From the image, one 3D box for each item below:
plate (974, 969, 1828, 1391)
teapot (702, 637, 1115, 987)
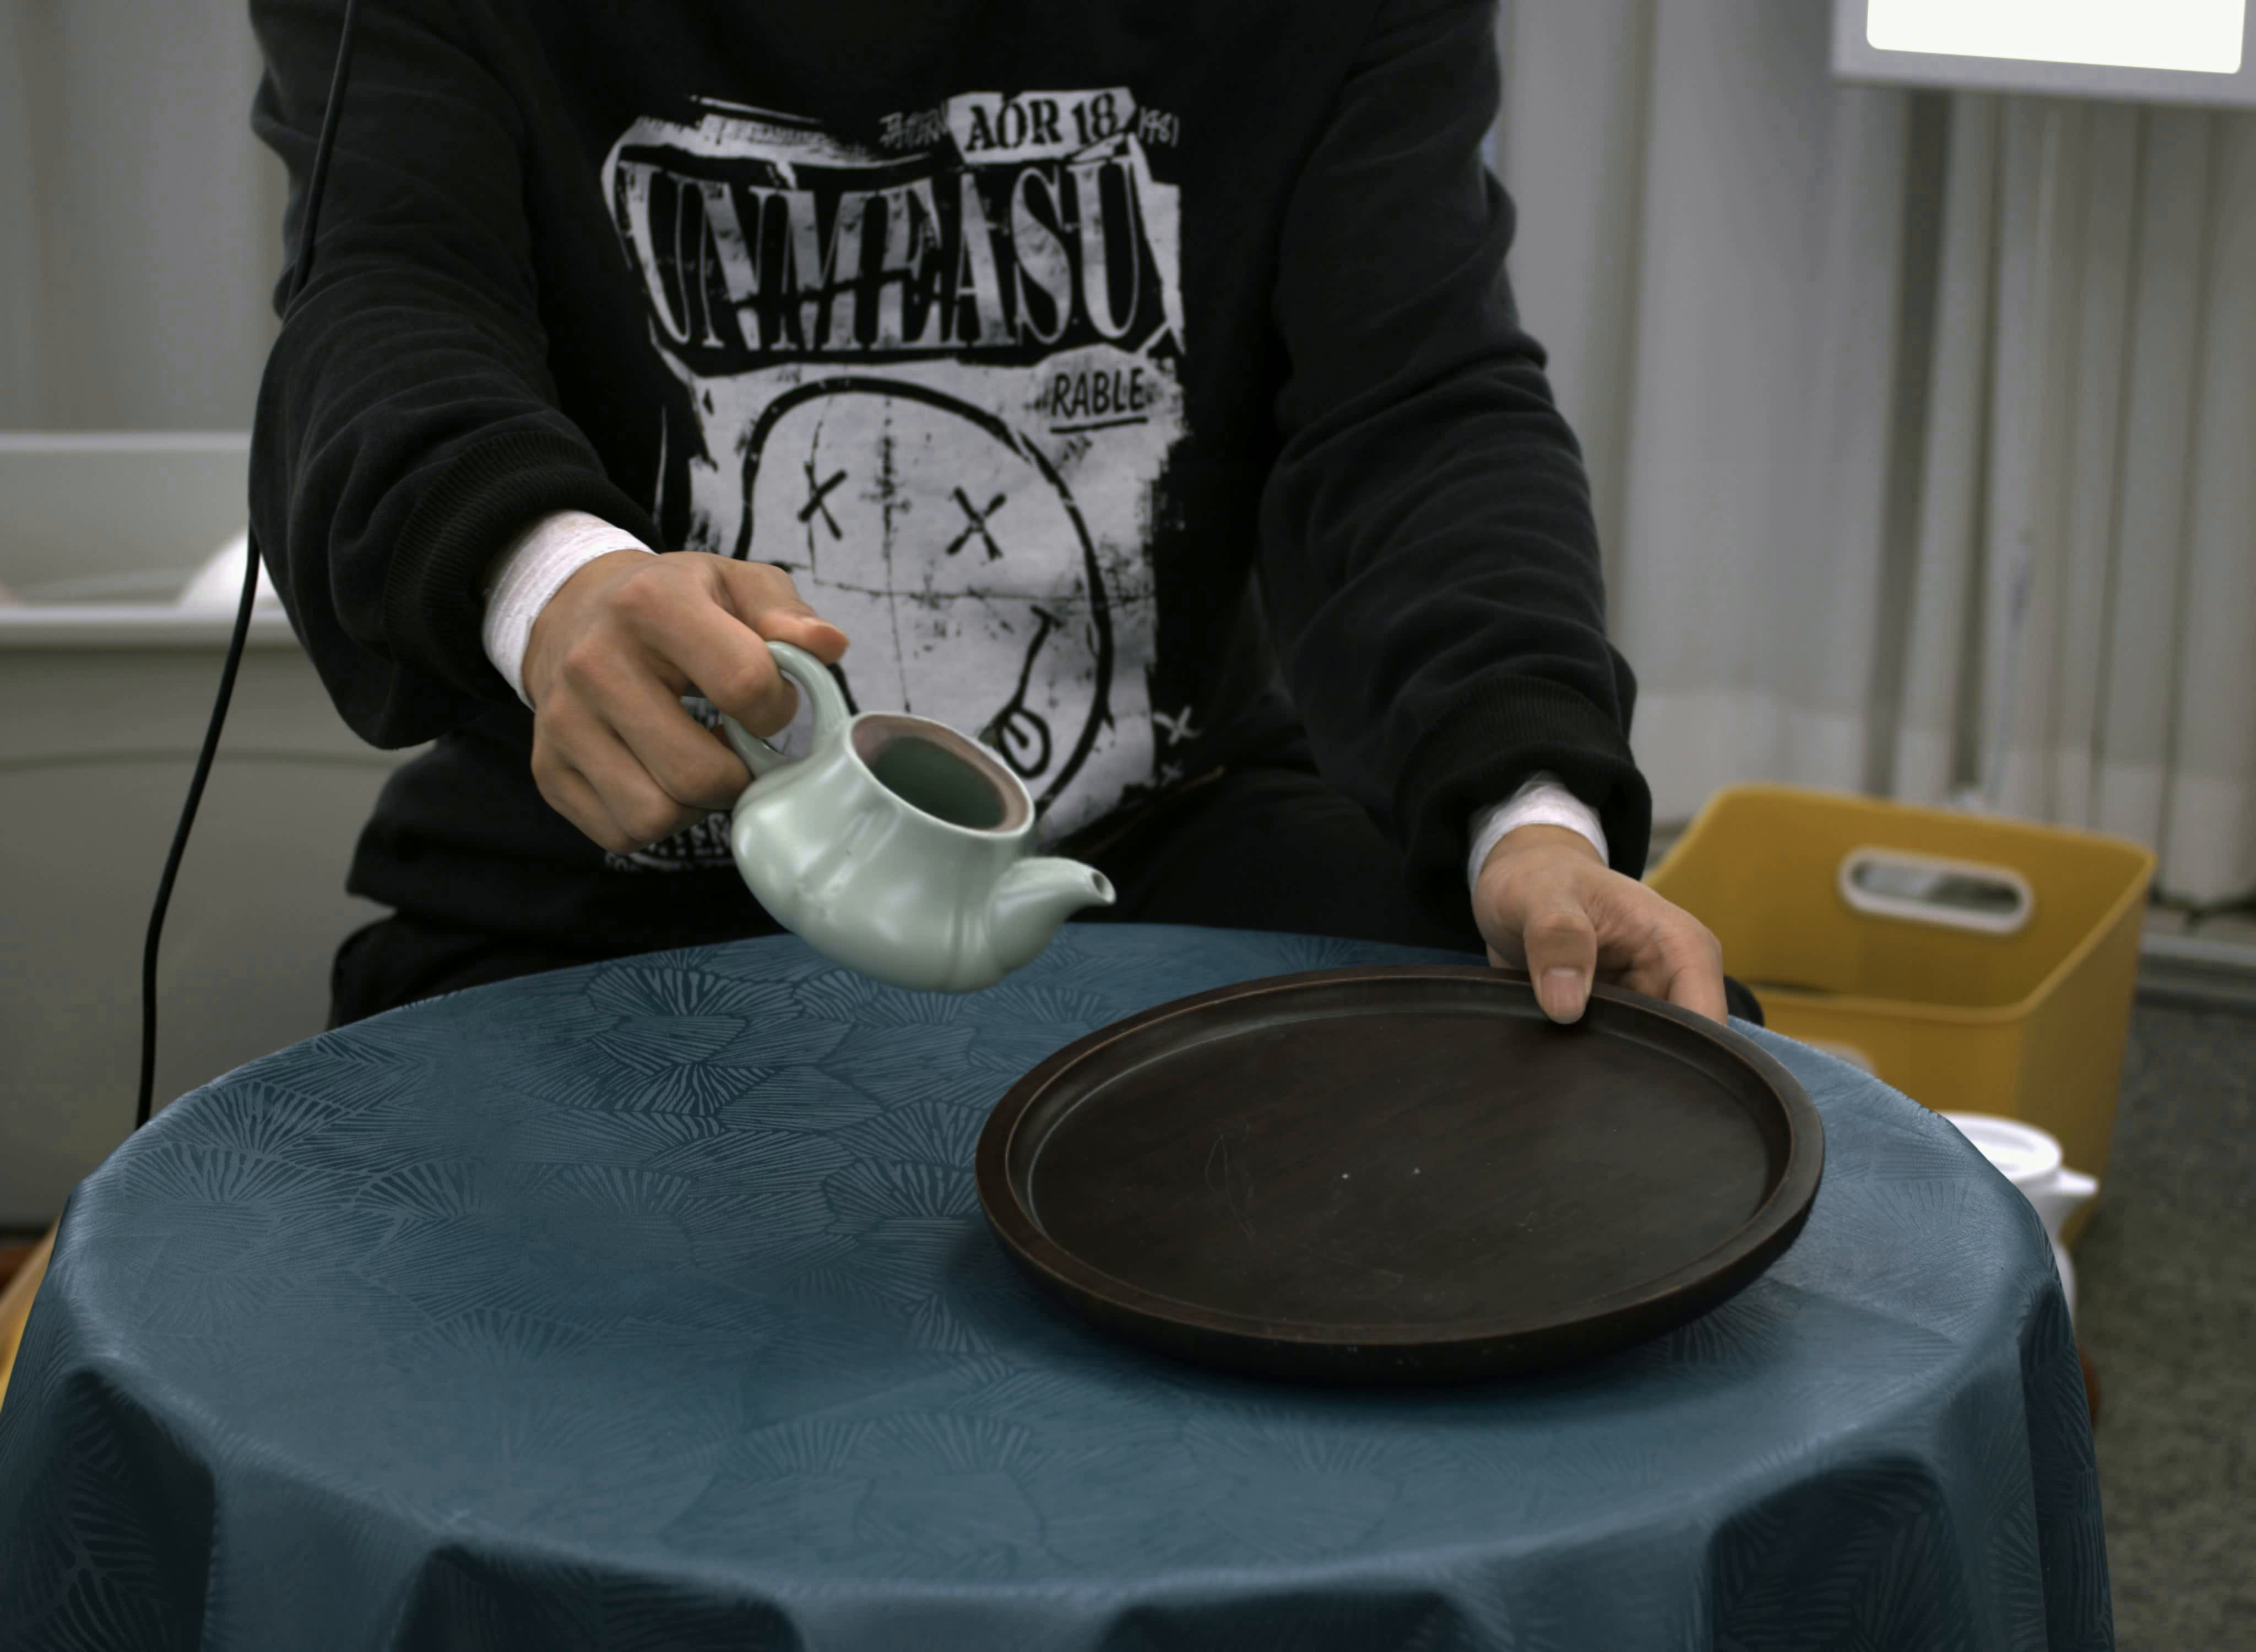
[{"bbox_3d":[0.080,0.102,1.561,0.254,0.029,0.253,-3,24,2],"label":"plate"},{"bbox_3d":[-0.072,0.000,1.539,0.136,0.061,0.096,36,27,11],"label":"teapot"}]
